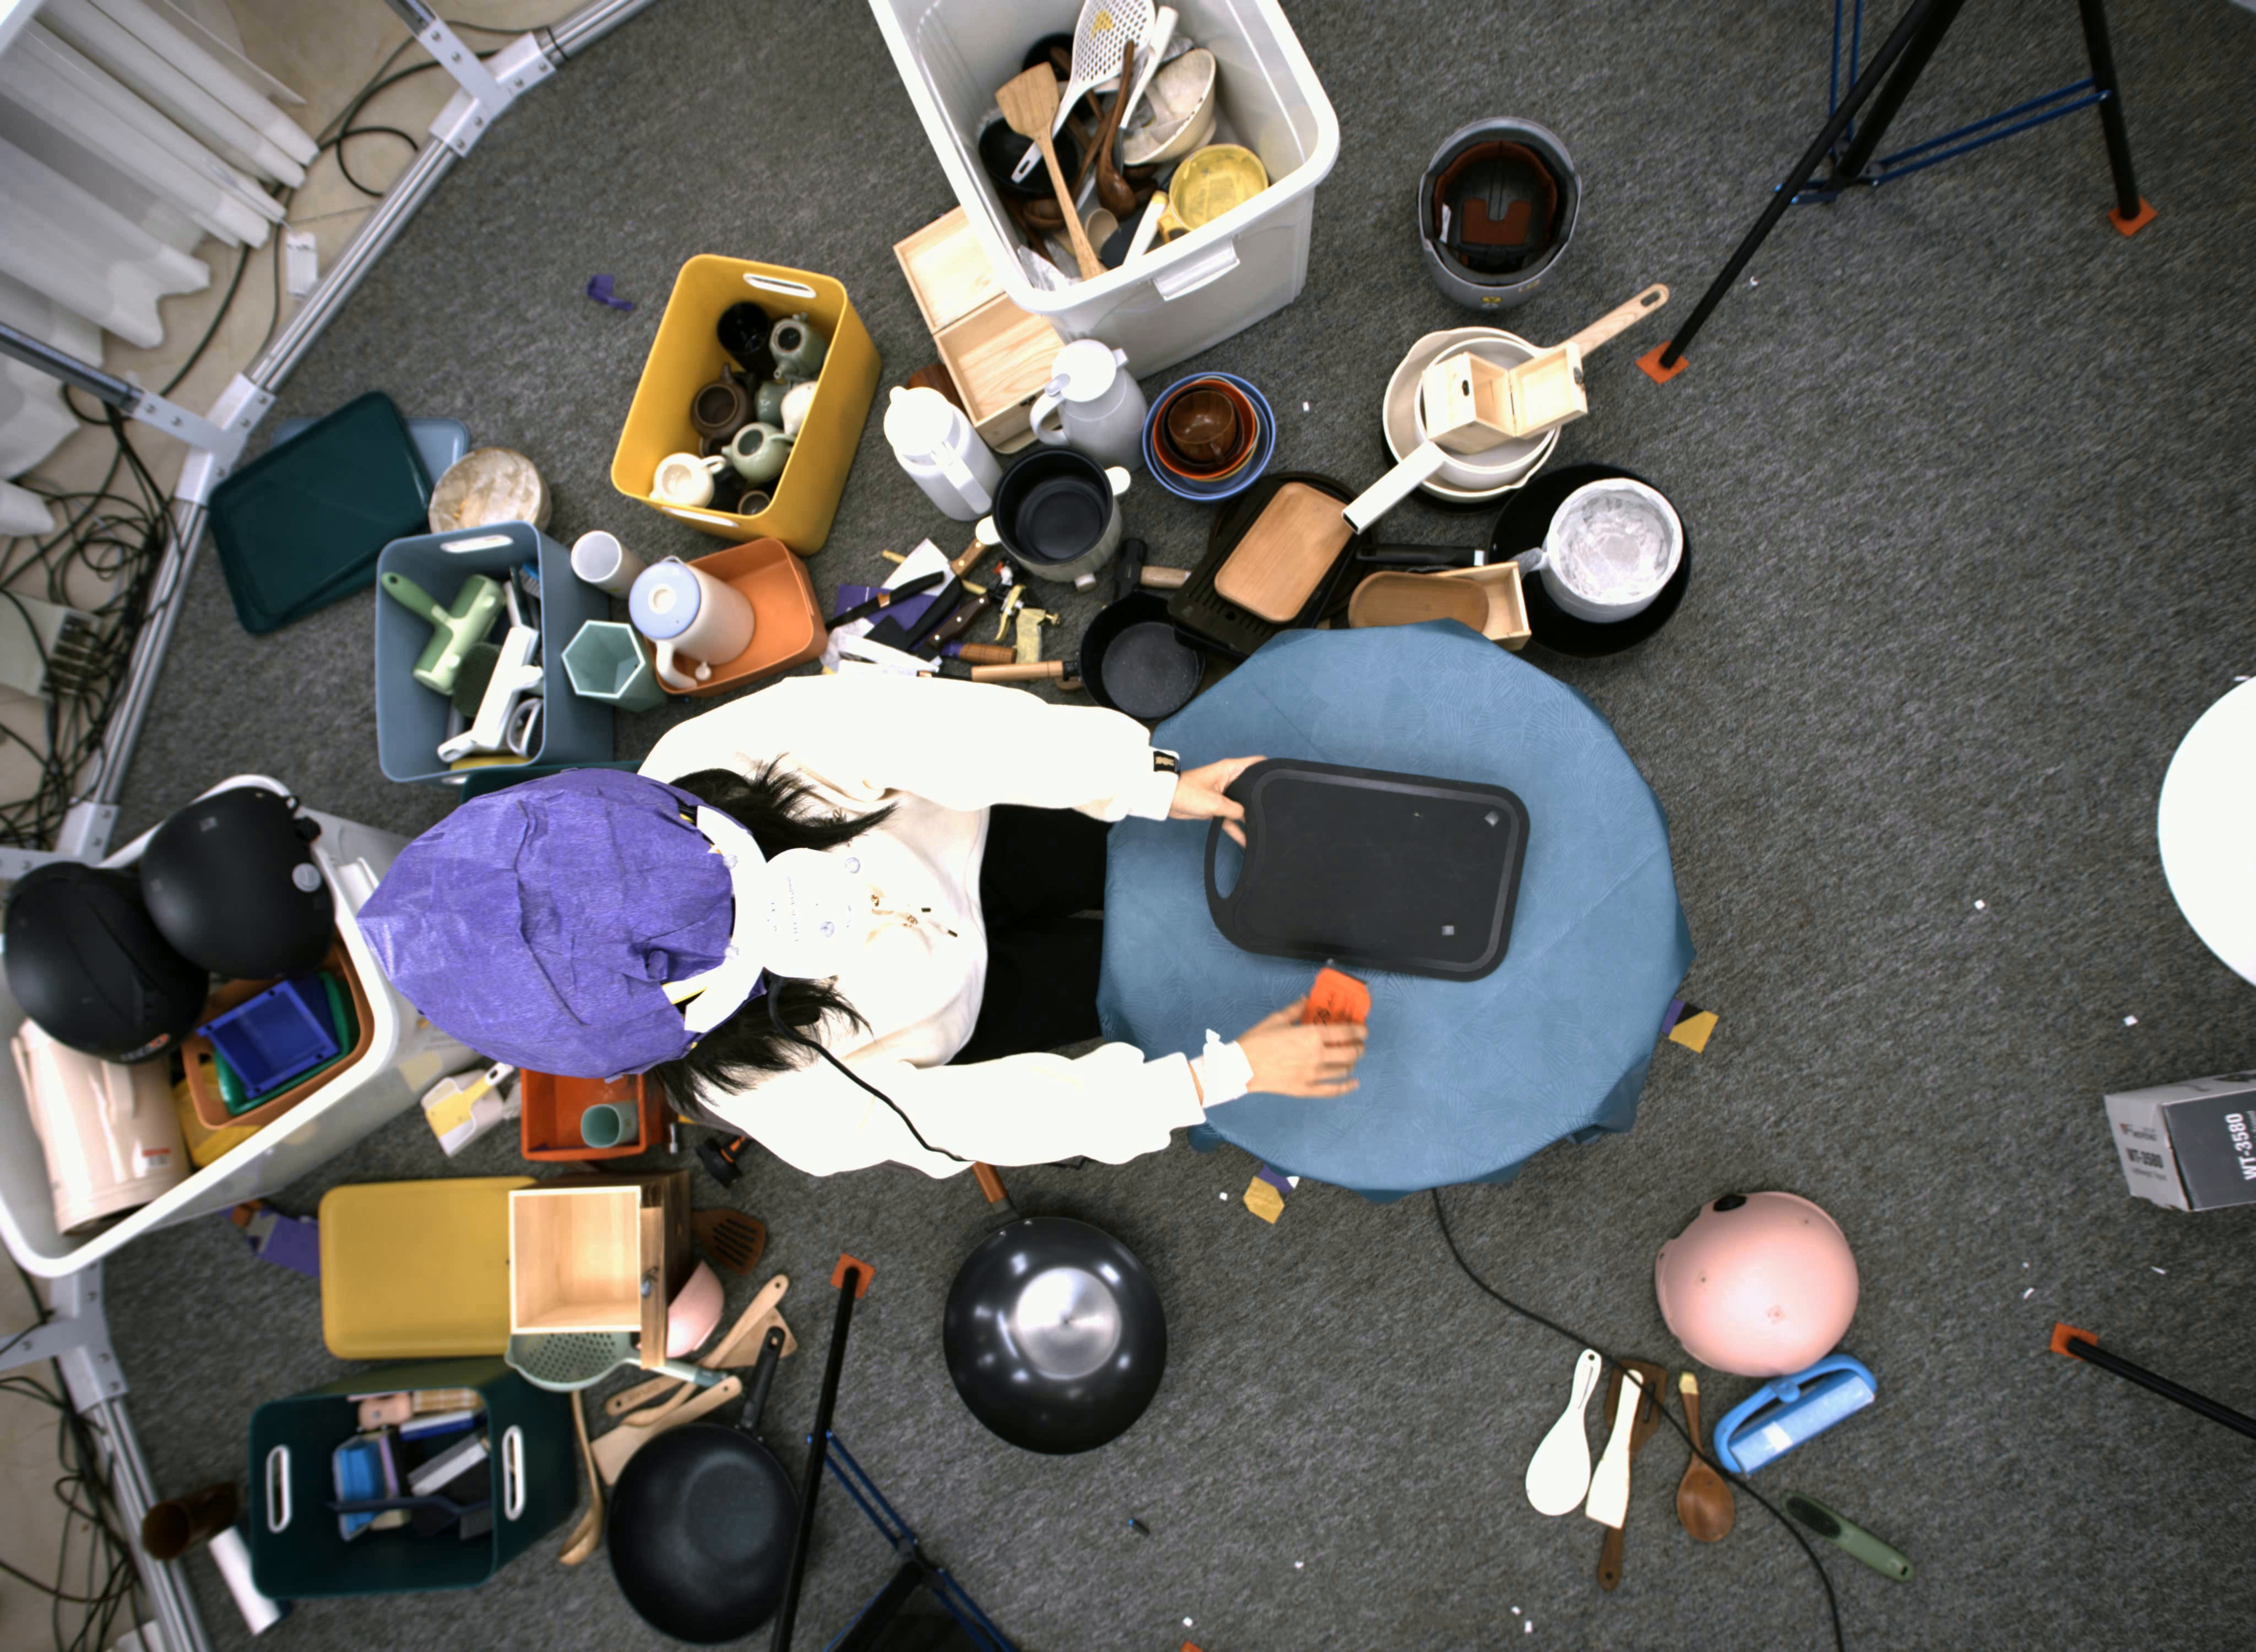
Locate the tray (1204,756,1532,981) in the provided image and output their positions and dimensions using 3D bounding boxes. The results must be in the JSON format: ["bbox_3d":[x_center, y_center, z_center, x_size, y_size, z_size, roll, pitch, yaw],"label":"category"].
[{"bbox_3d":[0.241,0.044,1.416,0.326,0.009,0.214,8,106,3],"label":"tray"}]

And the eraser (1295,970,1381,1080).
[{"bbox_3d":[0.209,0.199,1.389,0.059,0.022,0.110,25,124,15],"label":"eraser"}]
